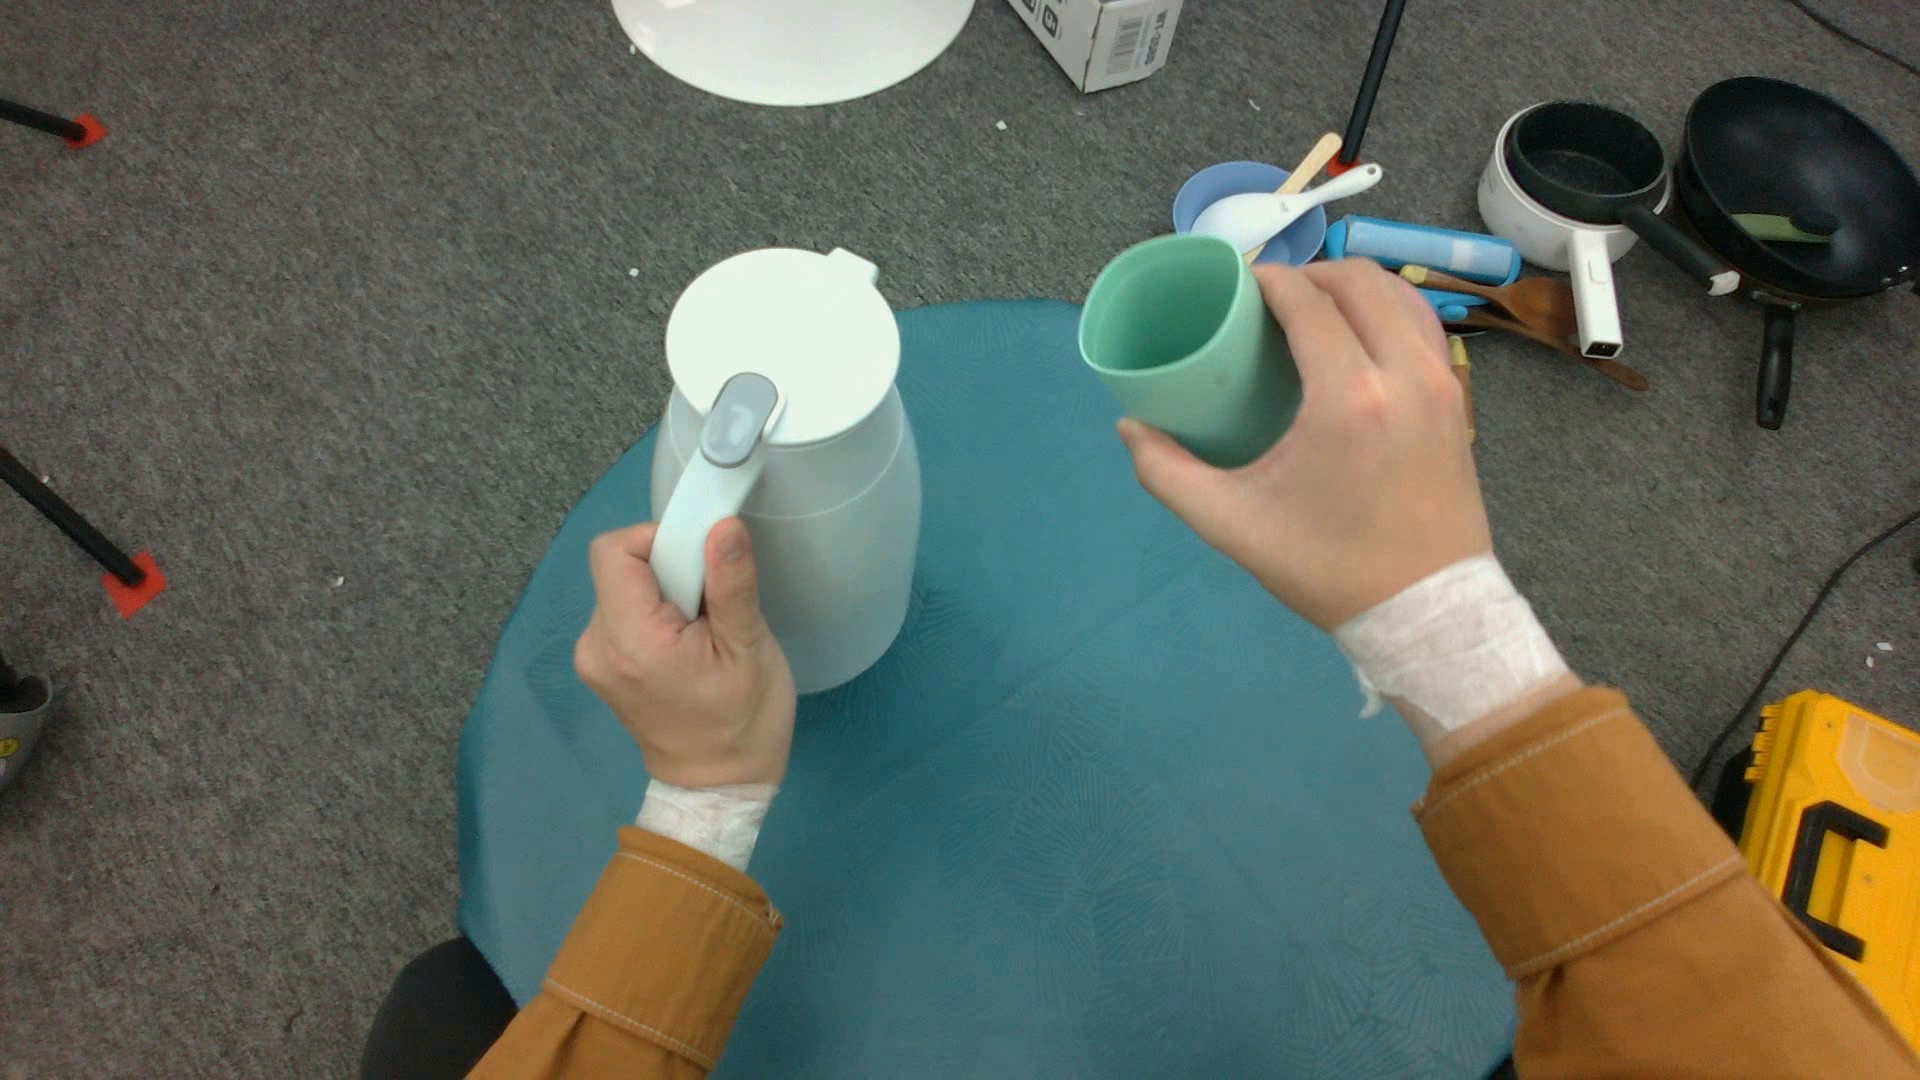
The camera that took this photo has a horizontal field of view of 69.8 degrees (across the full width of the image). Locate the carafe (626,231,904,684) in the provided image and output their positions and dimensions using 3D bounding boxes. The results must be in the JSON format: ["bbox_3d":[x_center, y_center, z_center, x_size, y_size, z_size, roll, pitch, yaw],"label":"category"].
[{"bbox_3d":[-0.096,-0.020,0.636,0.132,0.247,0.168,26,65,5],"label":"carafe"}]

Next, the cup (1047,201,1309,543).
[{"bbox_3d":[0.090,-0.062,0.539,0.066,0.132,0.067,-17,46,19],"label":"cup"}]
